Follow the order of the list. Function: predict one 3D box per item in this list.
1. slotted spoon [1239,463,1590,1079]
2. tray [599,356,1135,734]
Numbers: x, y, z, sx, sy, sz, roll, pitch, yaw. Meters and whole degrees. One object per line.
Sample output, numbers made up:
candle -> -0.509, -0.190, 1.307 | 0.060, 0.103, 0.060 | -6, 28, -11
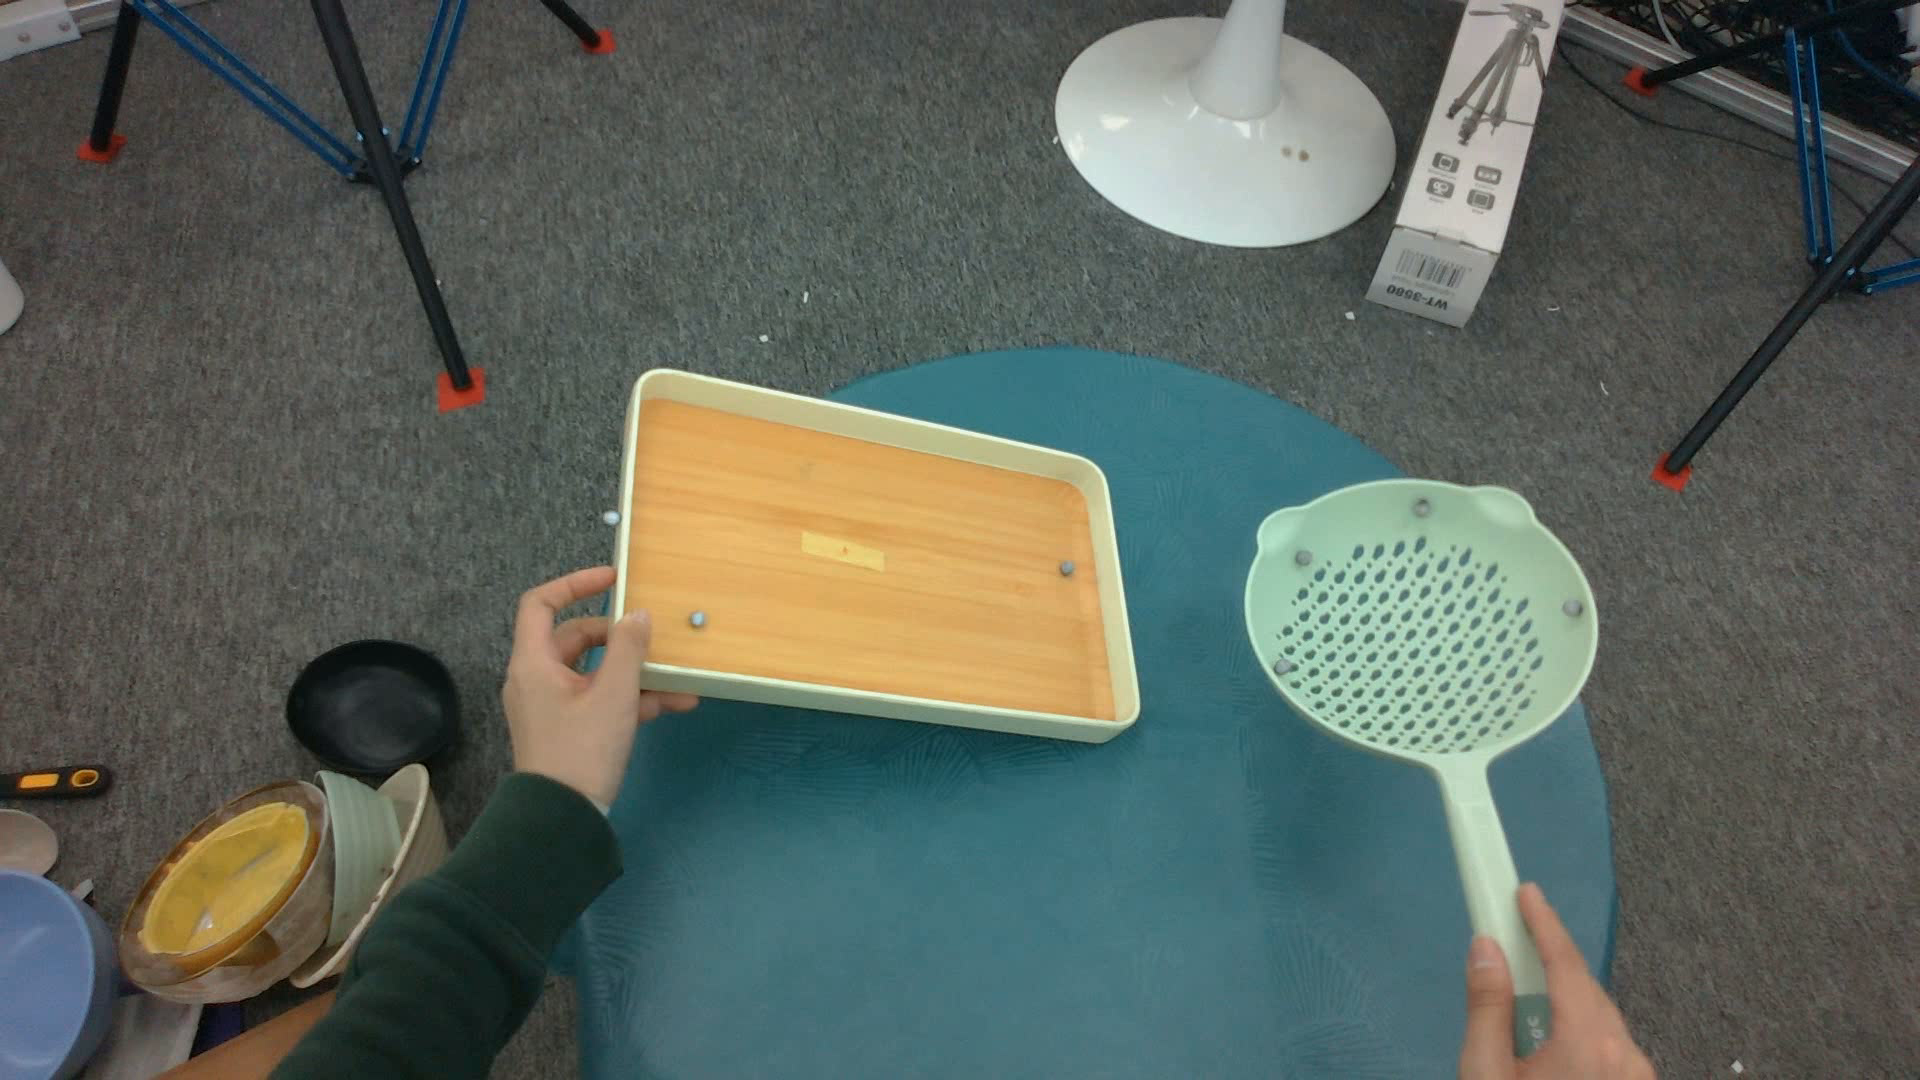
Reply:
slotted spoon -> 0.232, 0.111, 0.646 | 0.169, 0.075, 0.360 | -7, 44, 7
tray -> -0.046, 0.005, 0.776 | 0.301, 0.027, 0.192 | 10, 55, -23
